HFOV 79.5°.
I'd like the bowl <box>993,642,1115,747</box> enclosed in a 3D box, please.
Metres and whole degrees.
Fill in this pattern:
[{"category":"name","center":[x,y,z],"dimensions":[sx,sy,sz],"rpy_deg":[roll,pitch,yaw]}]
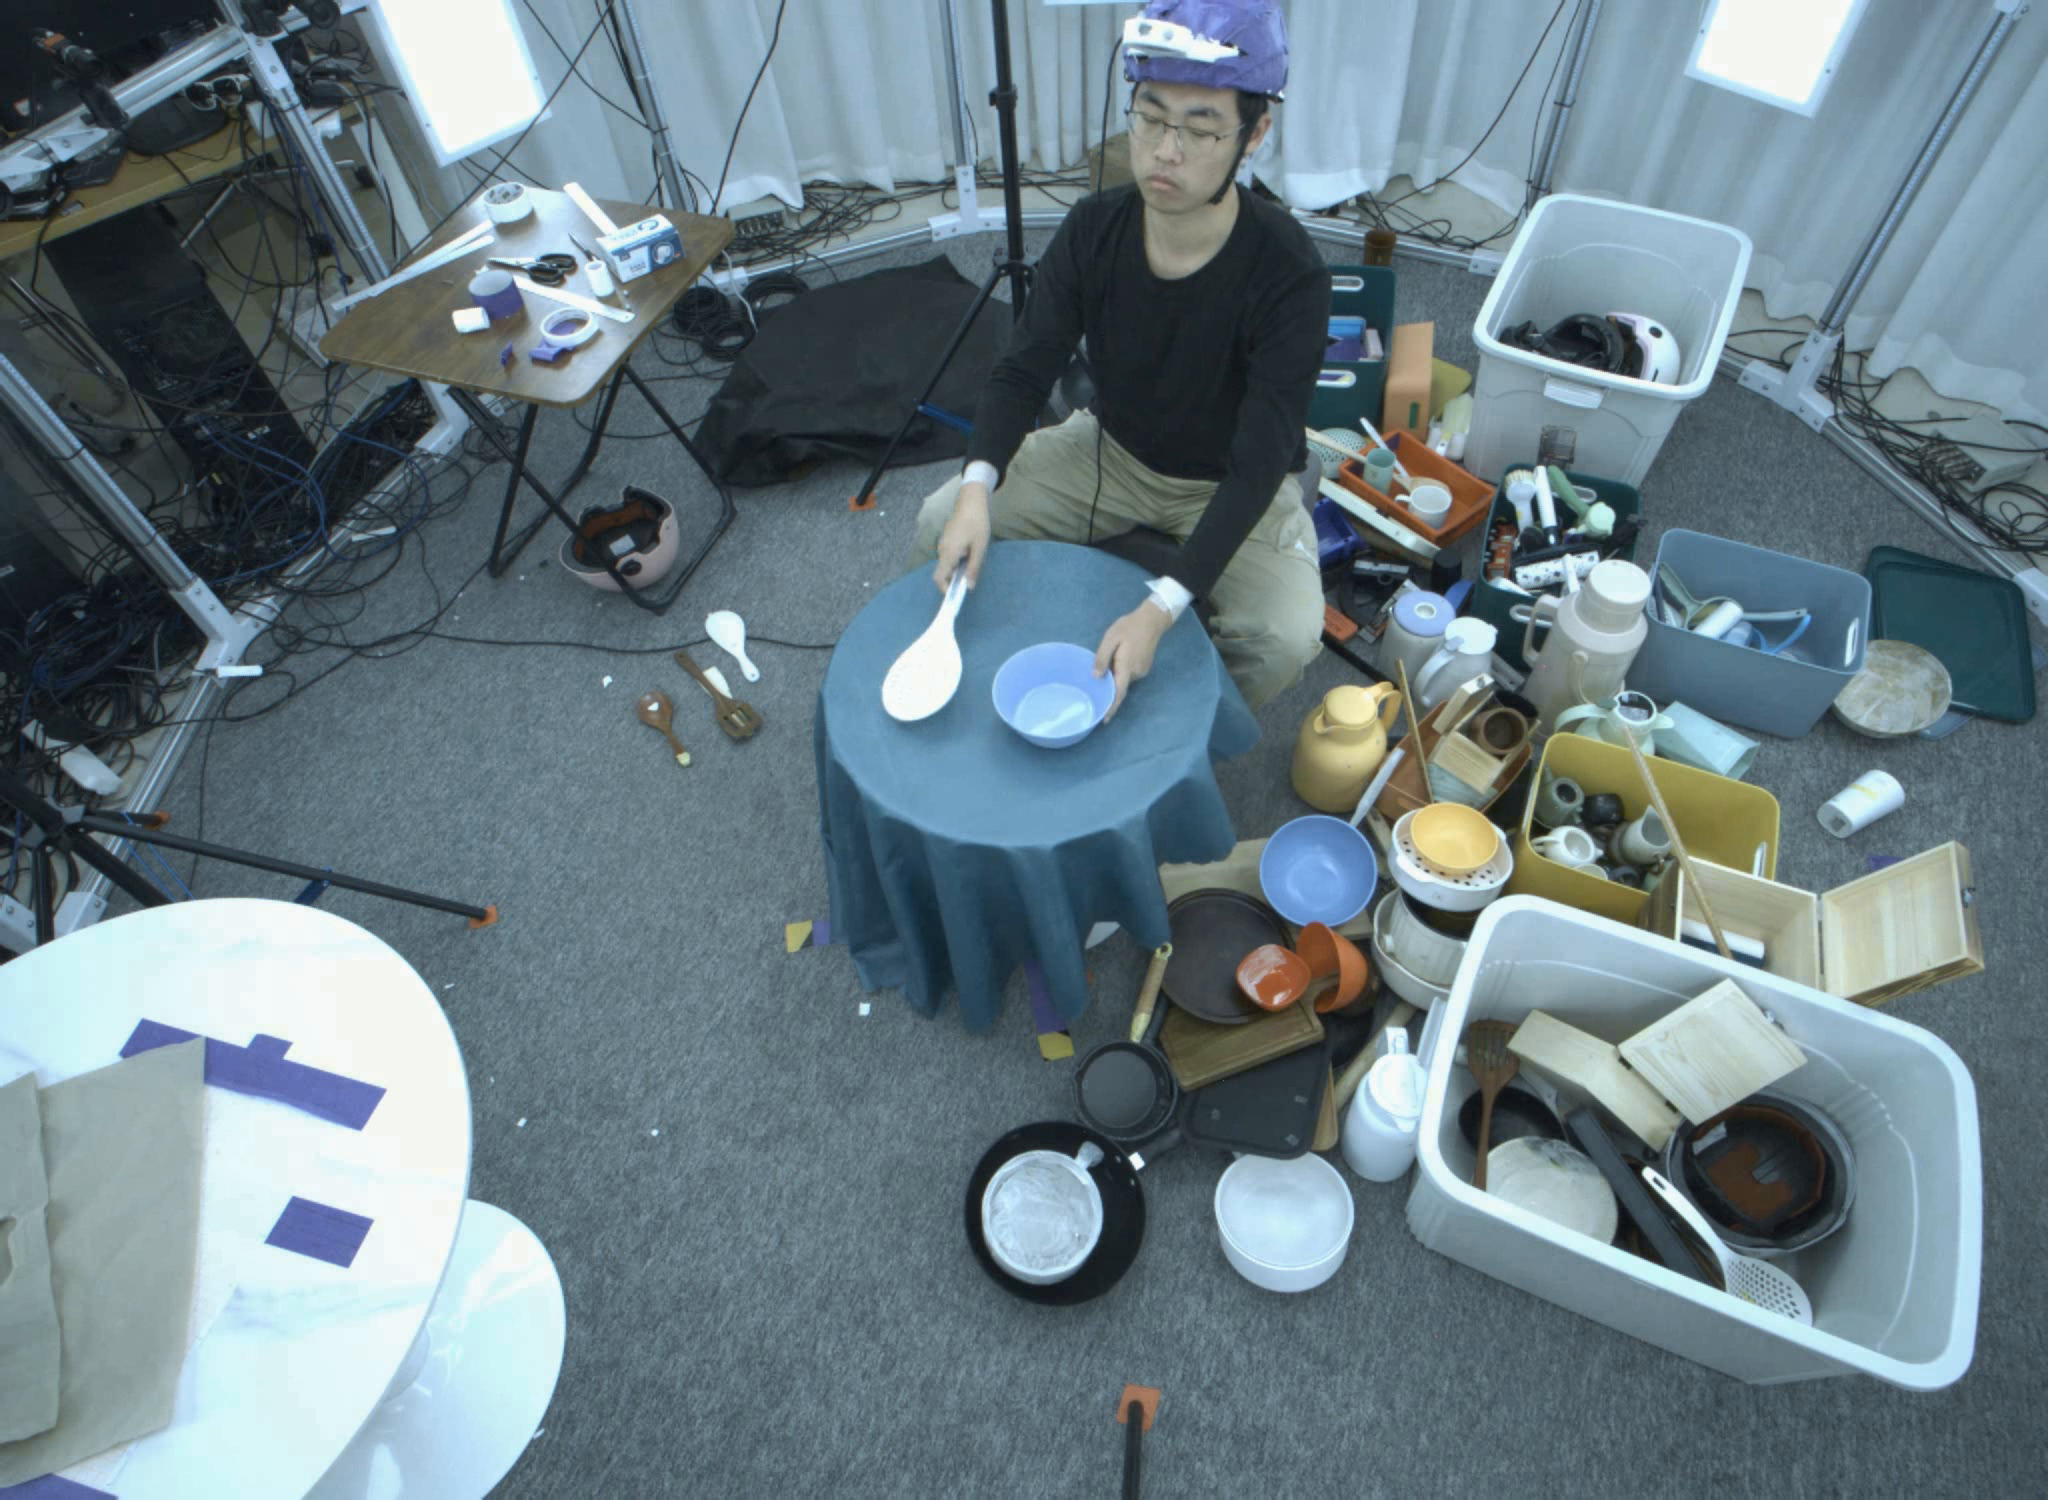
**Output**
[{"category":"bowl","center":[0.045,-0.070,1.792],"dimensions":[0.176,0.071,0.174],"rpy_deg":[0,54,1]}]

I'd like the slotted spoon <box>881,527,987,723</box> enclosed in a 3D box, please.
[{"category":"slotted spoon","center":[-0.121,-0.192,1.855],"dimensions":[0.133,0.047,0.348],"rpy_deg":[3,69,32]}]
